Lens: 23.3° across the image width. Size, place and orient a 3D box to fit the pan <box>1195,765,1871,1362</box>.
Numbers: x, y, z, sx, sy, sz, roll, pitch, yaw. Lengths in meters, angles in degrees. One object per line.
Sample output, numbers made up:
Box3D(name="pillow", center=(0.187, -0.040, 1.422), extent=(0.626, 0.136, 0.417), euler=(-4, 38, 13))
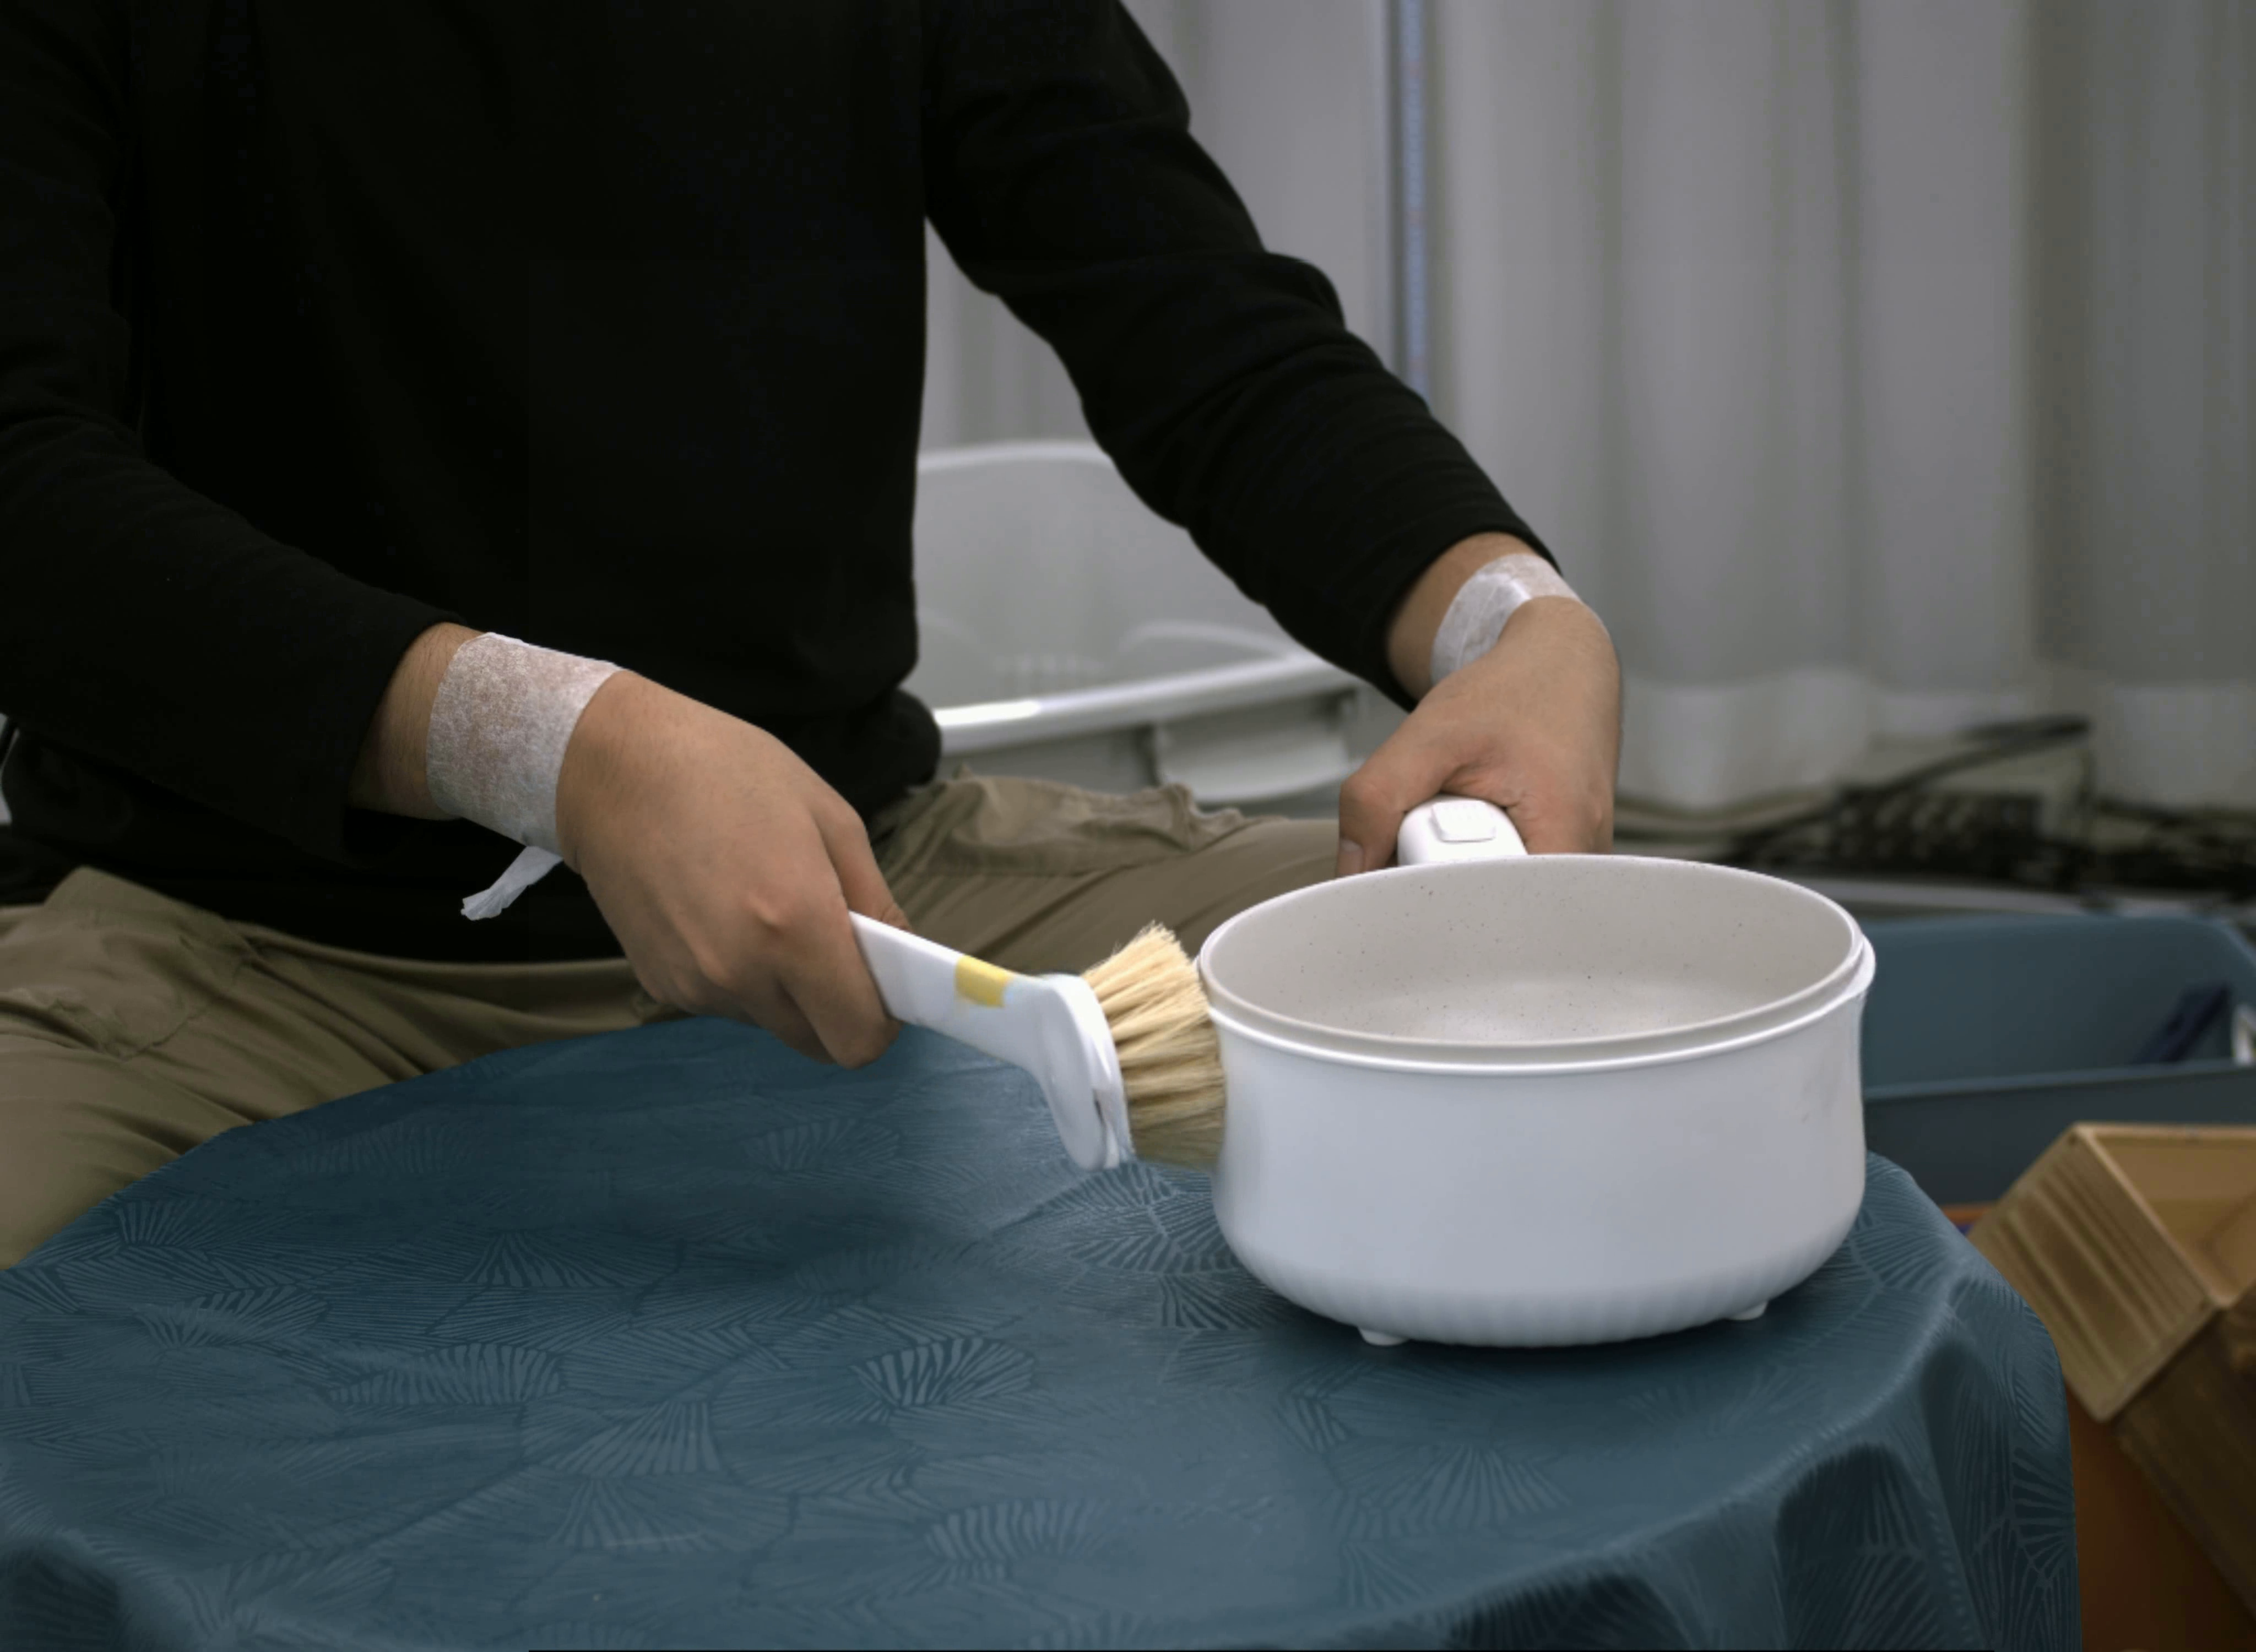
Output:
Box3D(name="pan", center=(0.115, 0.068, 1.689), extent=(0.200, 0.102, 0.357), euler=(-6, 14, -2))

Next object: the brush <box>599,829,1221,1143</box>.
Box3D(name="brush", center=(-0.064, 0.037, 1.669), extent=(0.056, 0.068, 0.268), euler=(-18, 25, -36))
